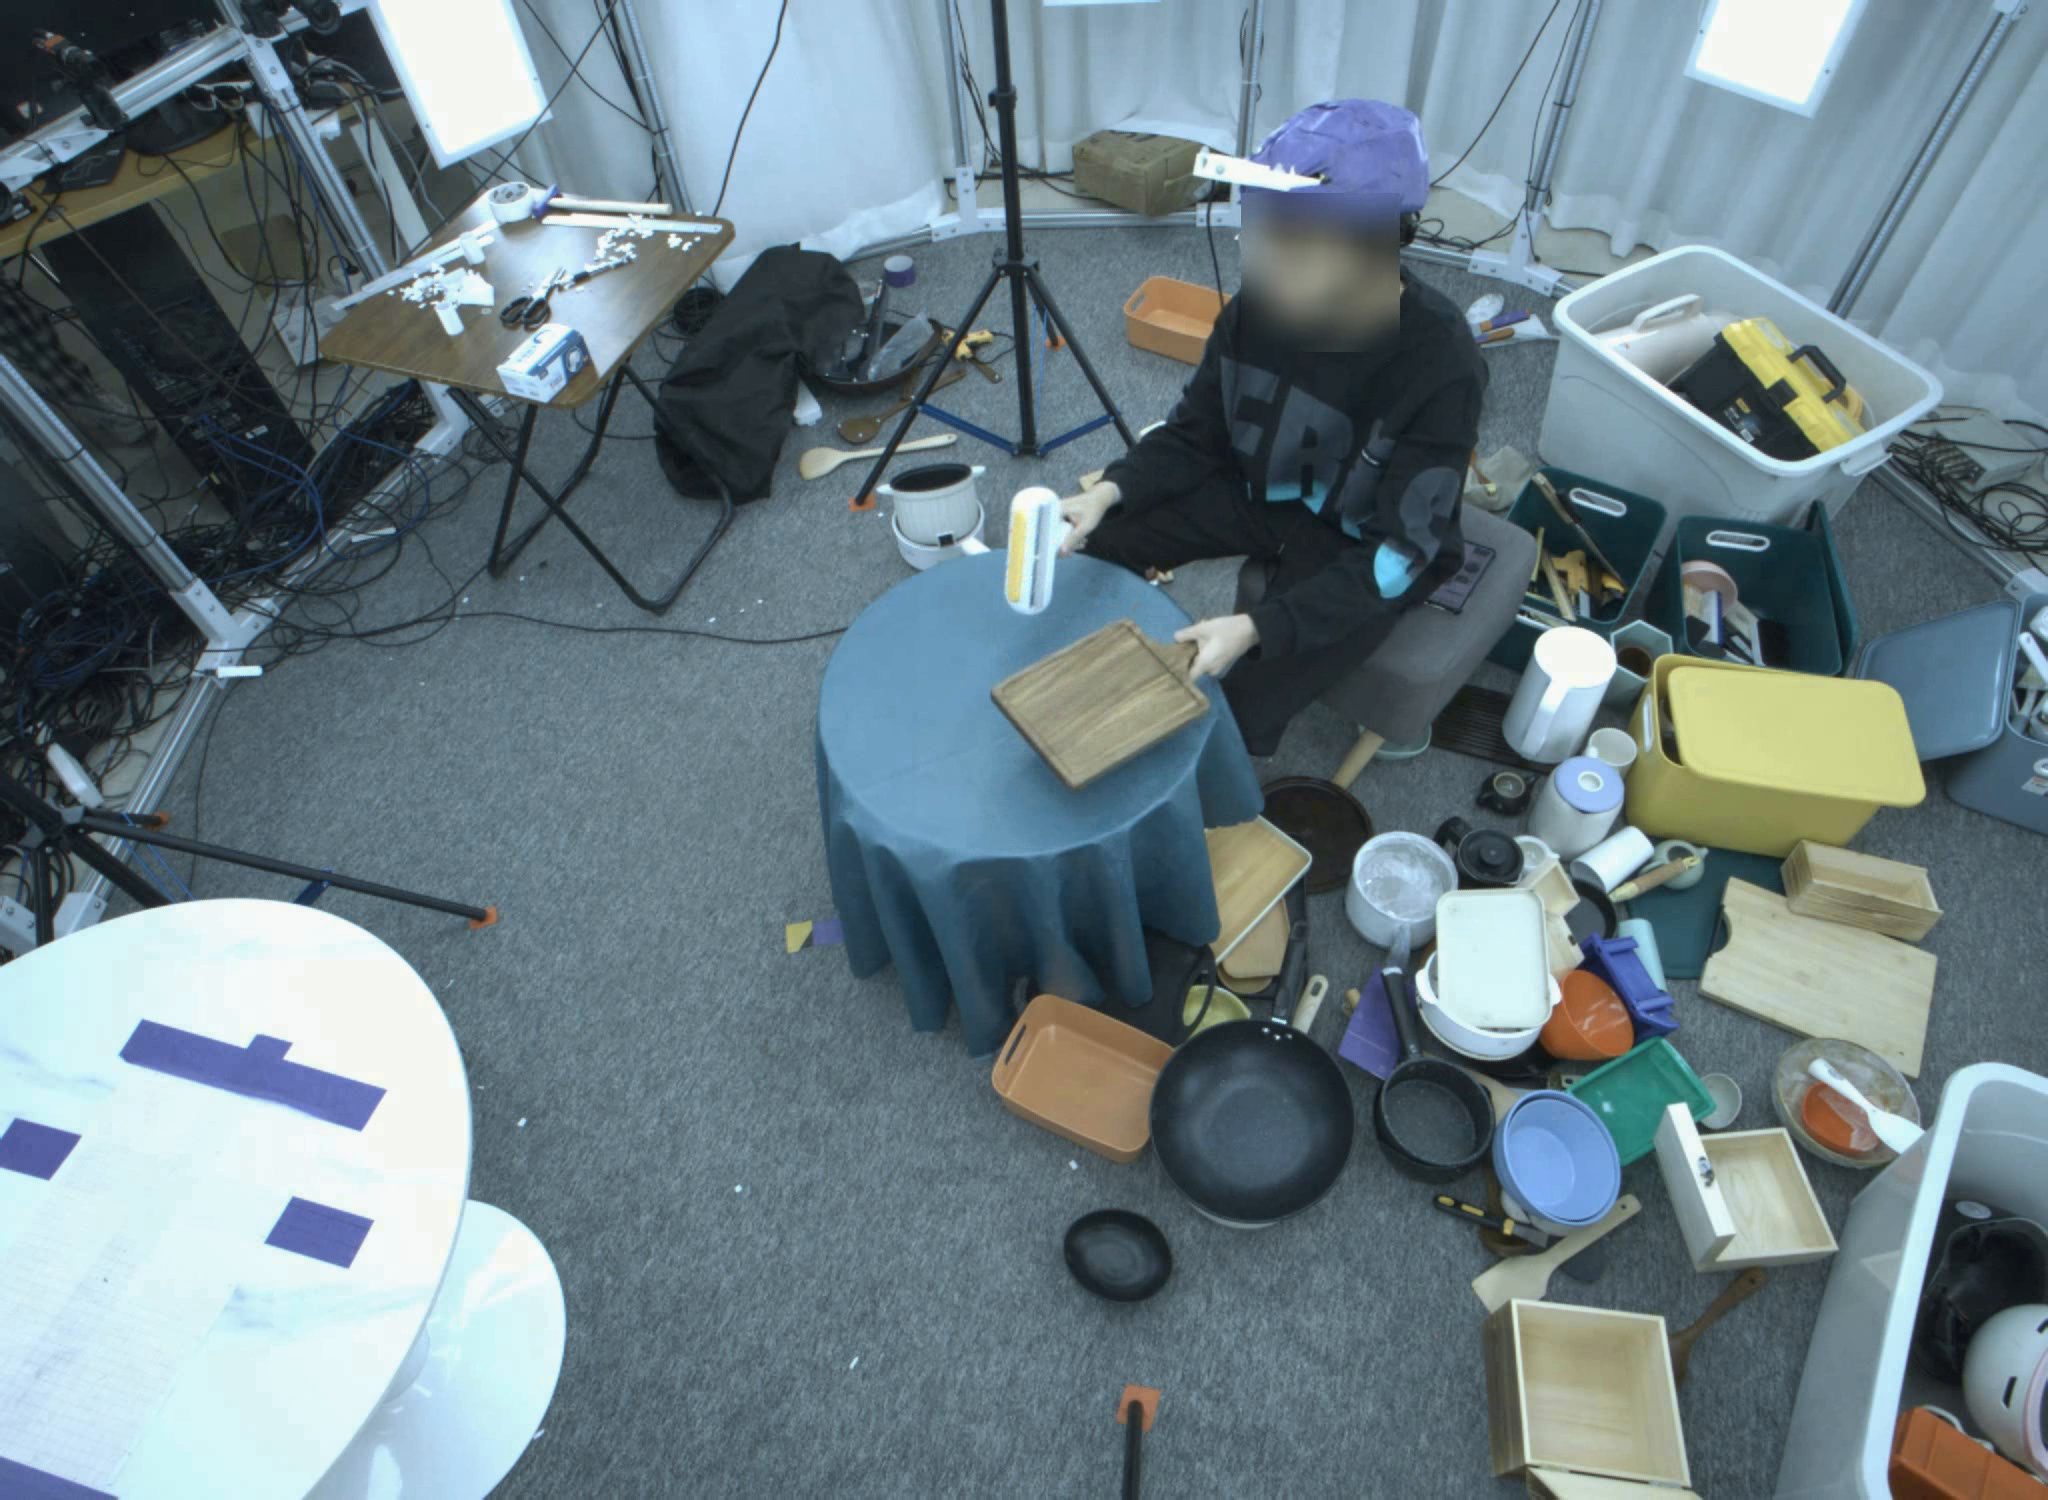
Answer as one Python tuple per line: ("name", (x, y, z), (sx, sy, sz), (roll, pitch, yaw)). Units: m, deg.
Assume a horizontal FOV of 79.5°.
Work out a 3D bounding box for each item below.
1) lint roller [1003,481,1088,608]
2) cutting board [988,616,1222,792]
("lint roller", (0.045, -0.320, 1.853), (0.072, 0.194, 0.195), (25, 32, 33))
("cutting board", (0.144, -0.092, 1.729), (0.356, 0.023, 0.198), (-30, 66, -25))
